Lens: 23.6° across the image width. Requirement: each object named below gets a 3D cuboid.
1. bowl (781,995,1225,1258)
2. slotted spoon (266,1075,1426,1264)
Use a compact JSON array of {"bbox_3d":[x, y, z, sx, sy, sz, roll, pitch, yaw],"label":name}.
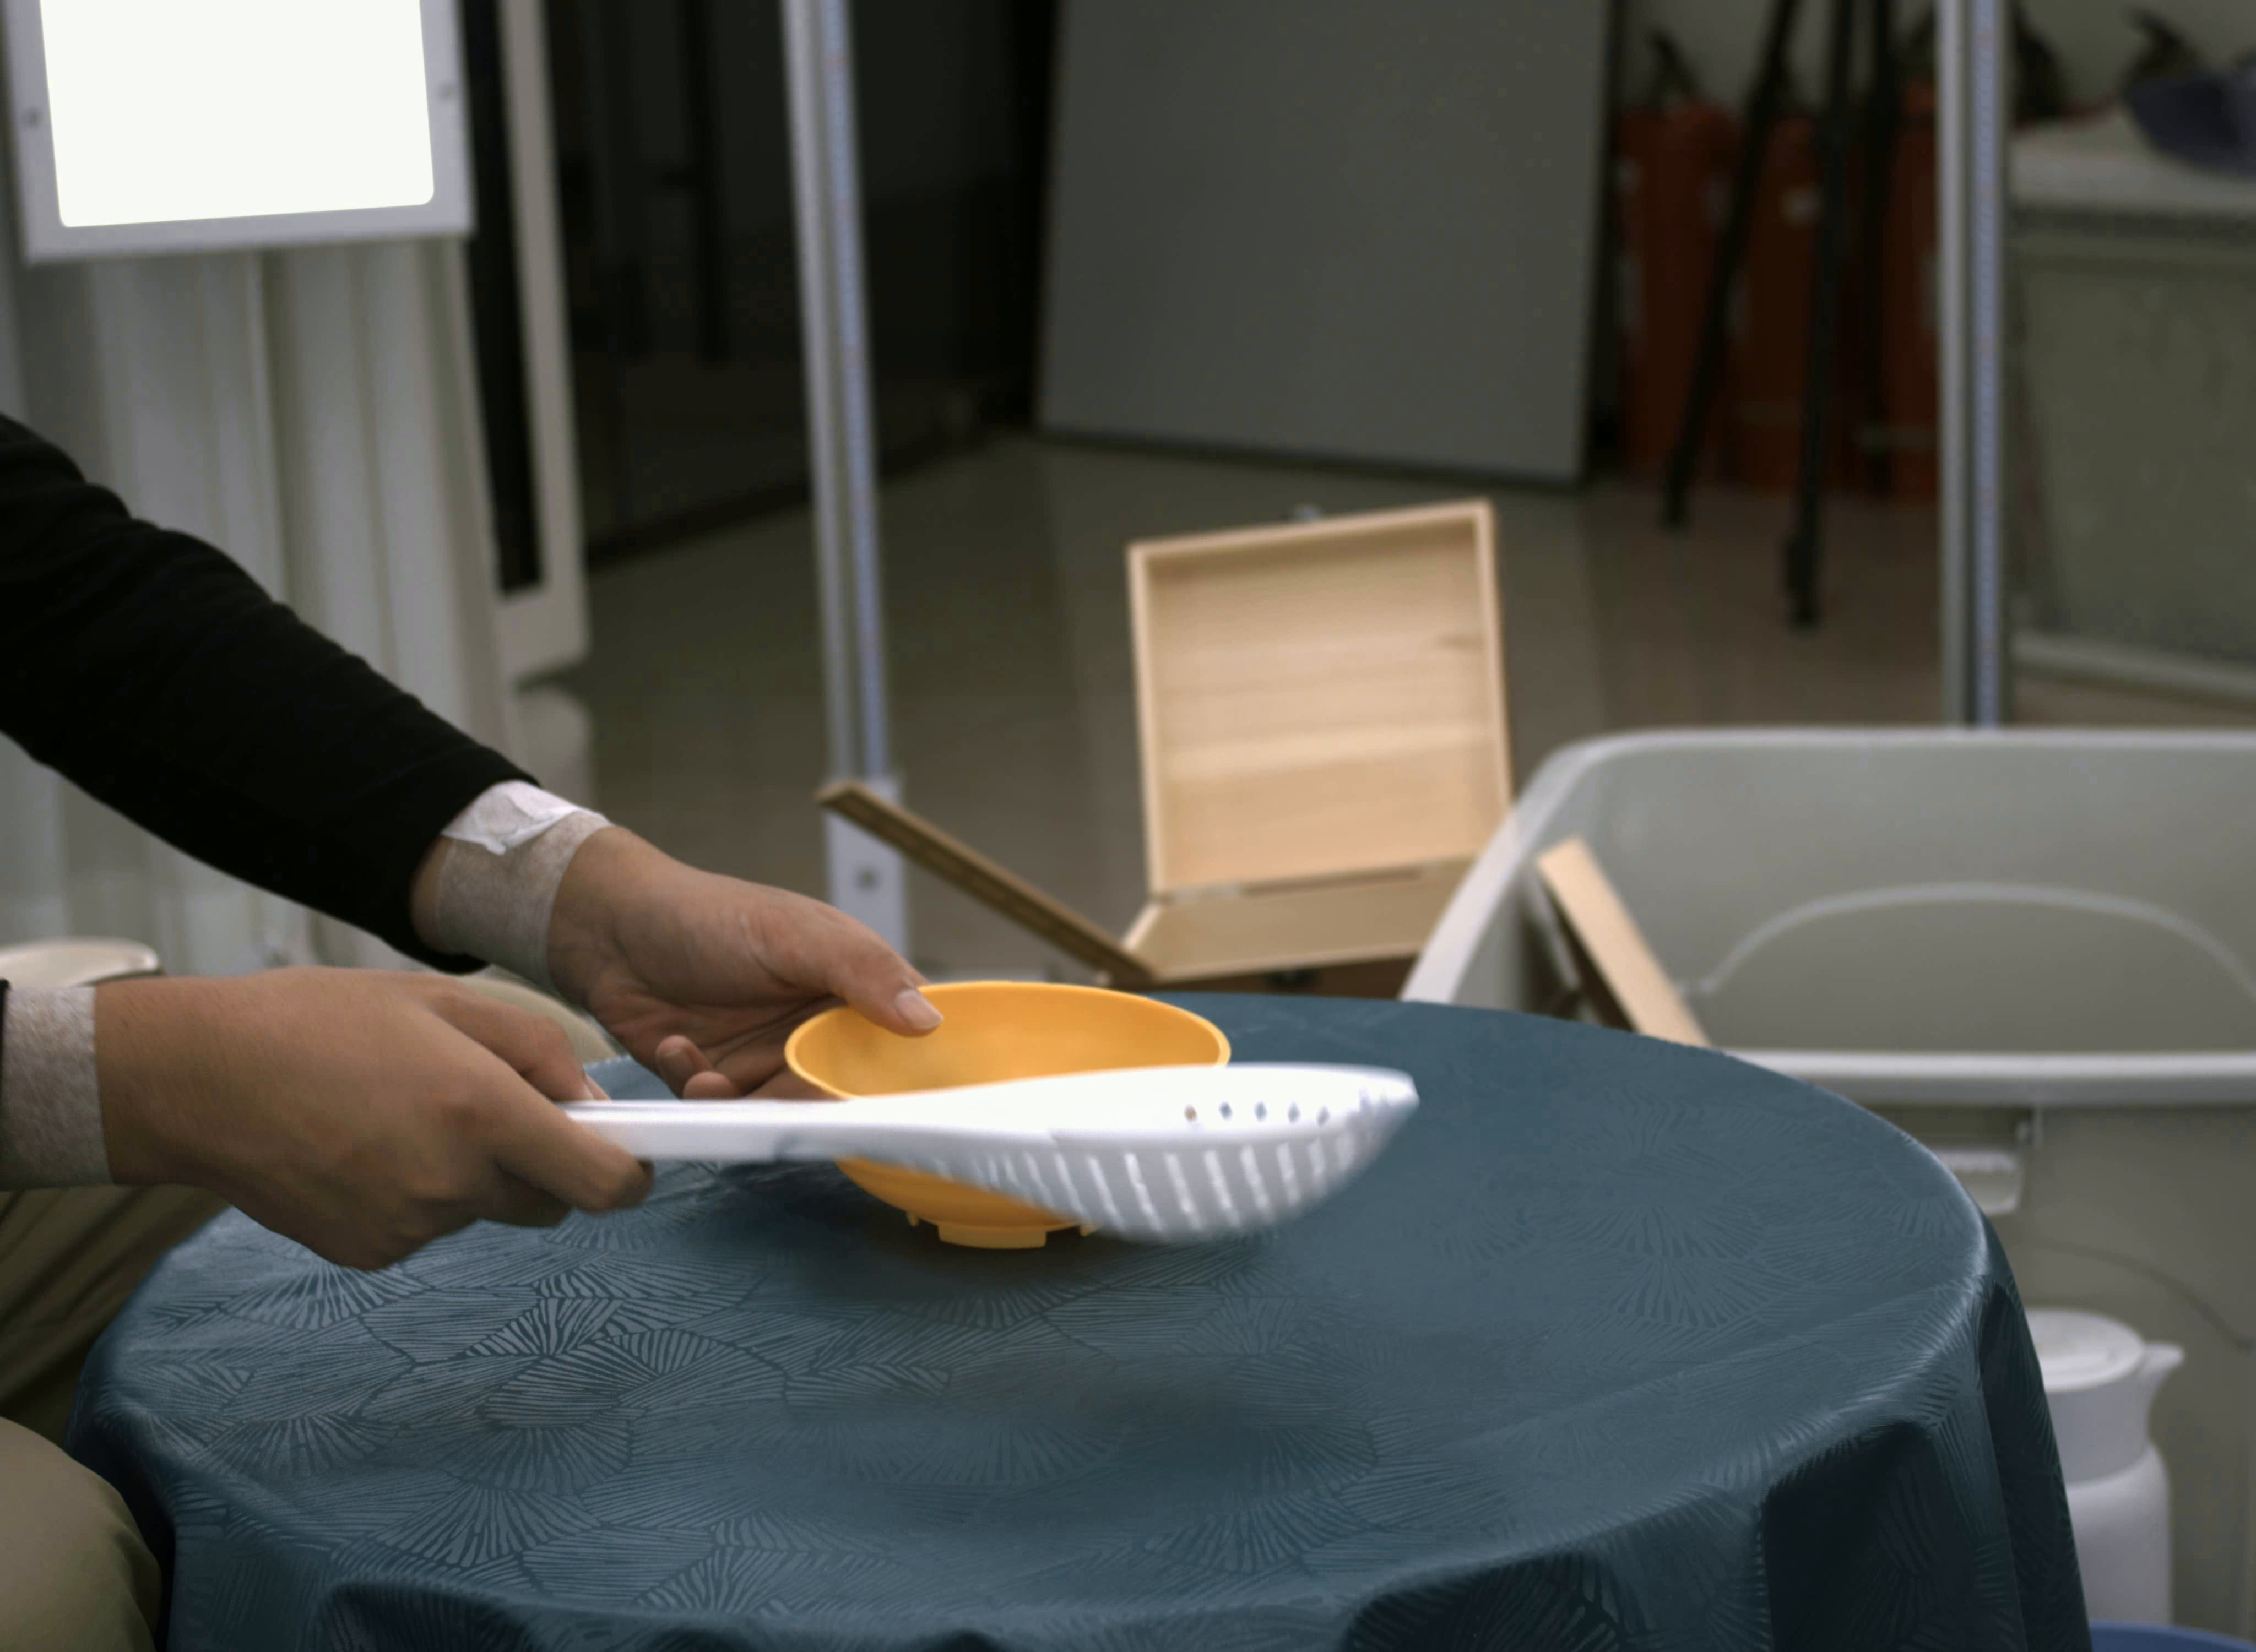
[{"bbox_3d":[-0.041,0.101,1.740,0.143,0.061,0.145,0,13,-1],"label":"bowl"},{"bbox_3d":[-0.085,0.091,1.568,0.348,0.046,0.135,5,9,14],"label":"slotted spoon"}]
